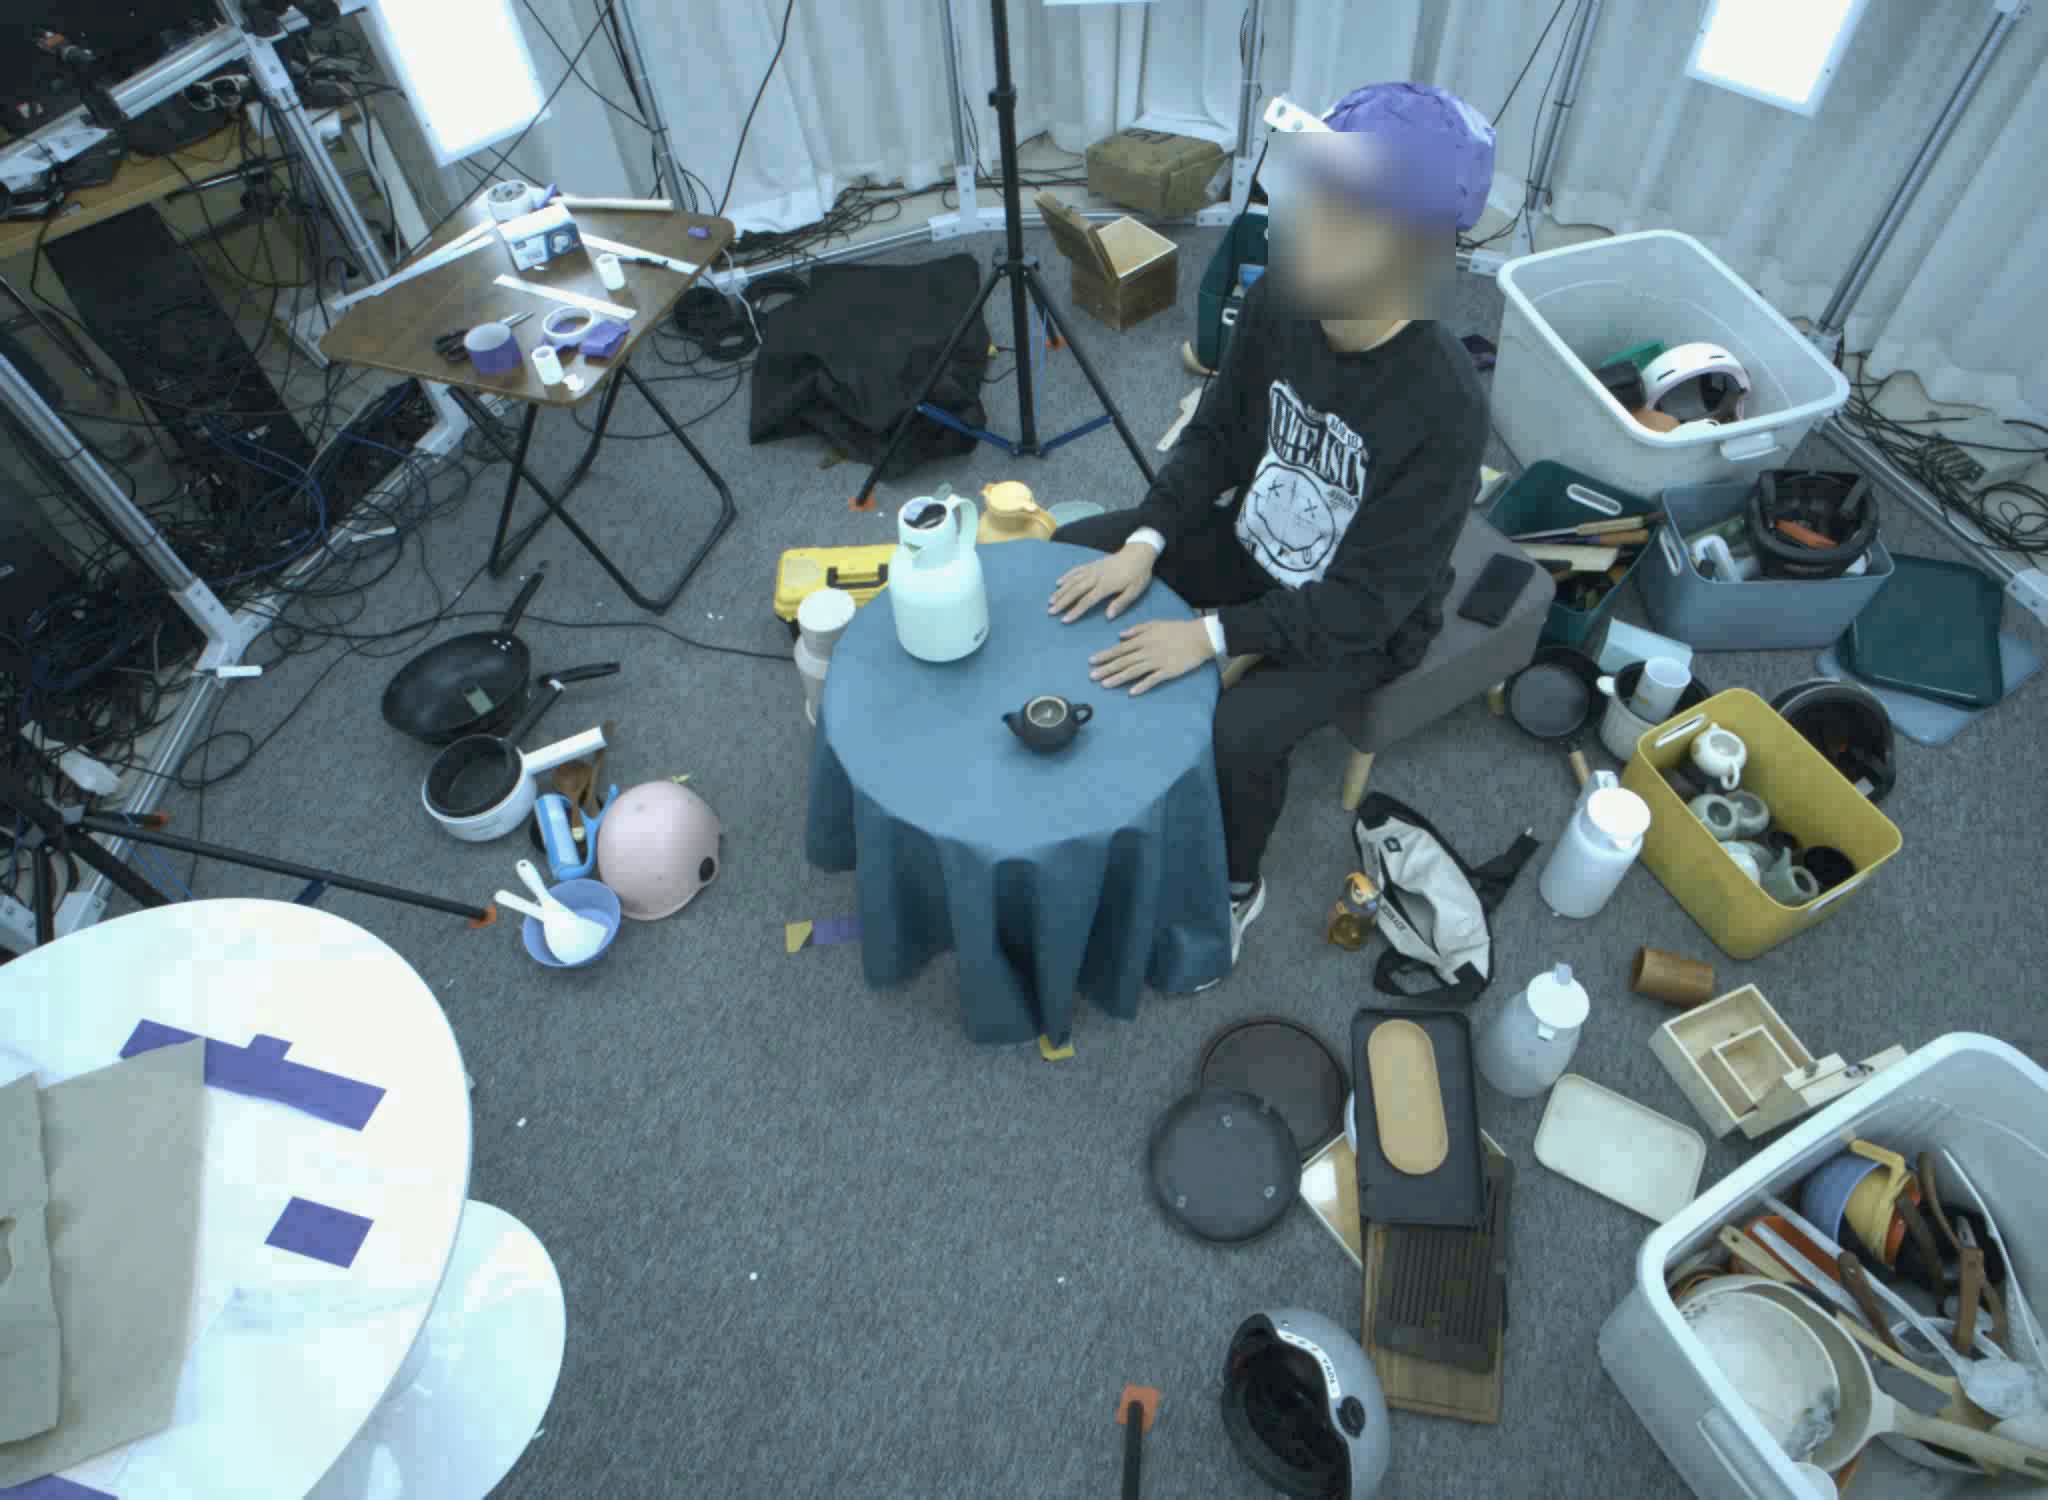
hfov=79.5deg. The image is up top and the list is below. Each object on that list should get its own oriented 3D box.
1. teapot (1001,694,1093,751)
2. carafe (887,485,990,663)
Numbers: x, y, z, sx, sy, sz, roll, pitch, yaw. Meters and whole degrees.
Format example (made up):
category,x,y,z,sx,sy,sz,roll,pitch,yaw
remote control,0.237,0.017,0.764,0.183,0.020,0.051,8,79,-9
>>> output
category,x,y,z,sx,sy,sz,roll,pitch,yaw
teapot,0.034,-0.041,1.779,0.133,0.053,0.089,-9,56,-4
carafe,-0.127,-0.269,1.825,0.142,0.259,0.187,20,55,19
